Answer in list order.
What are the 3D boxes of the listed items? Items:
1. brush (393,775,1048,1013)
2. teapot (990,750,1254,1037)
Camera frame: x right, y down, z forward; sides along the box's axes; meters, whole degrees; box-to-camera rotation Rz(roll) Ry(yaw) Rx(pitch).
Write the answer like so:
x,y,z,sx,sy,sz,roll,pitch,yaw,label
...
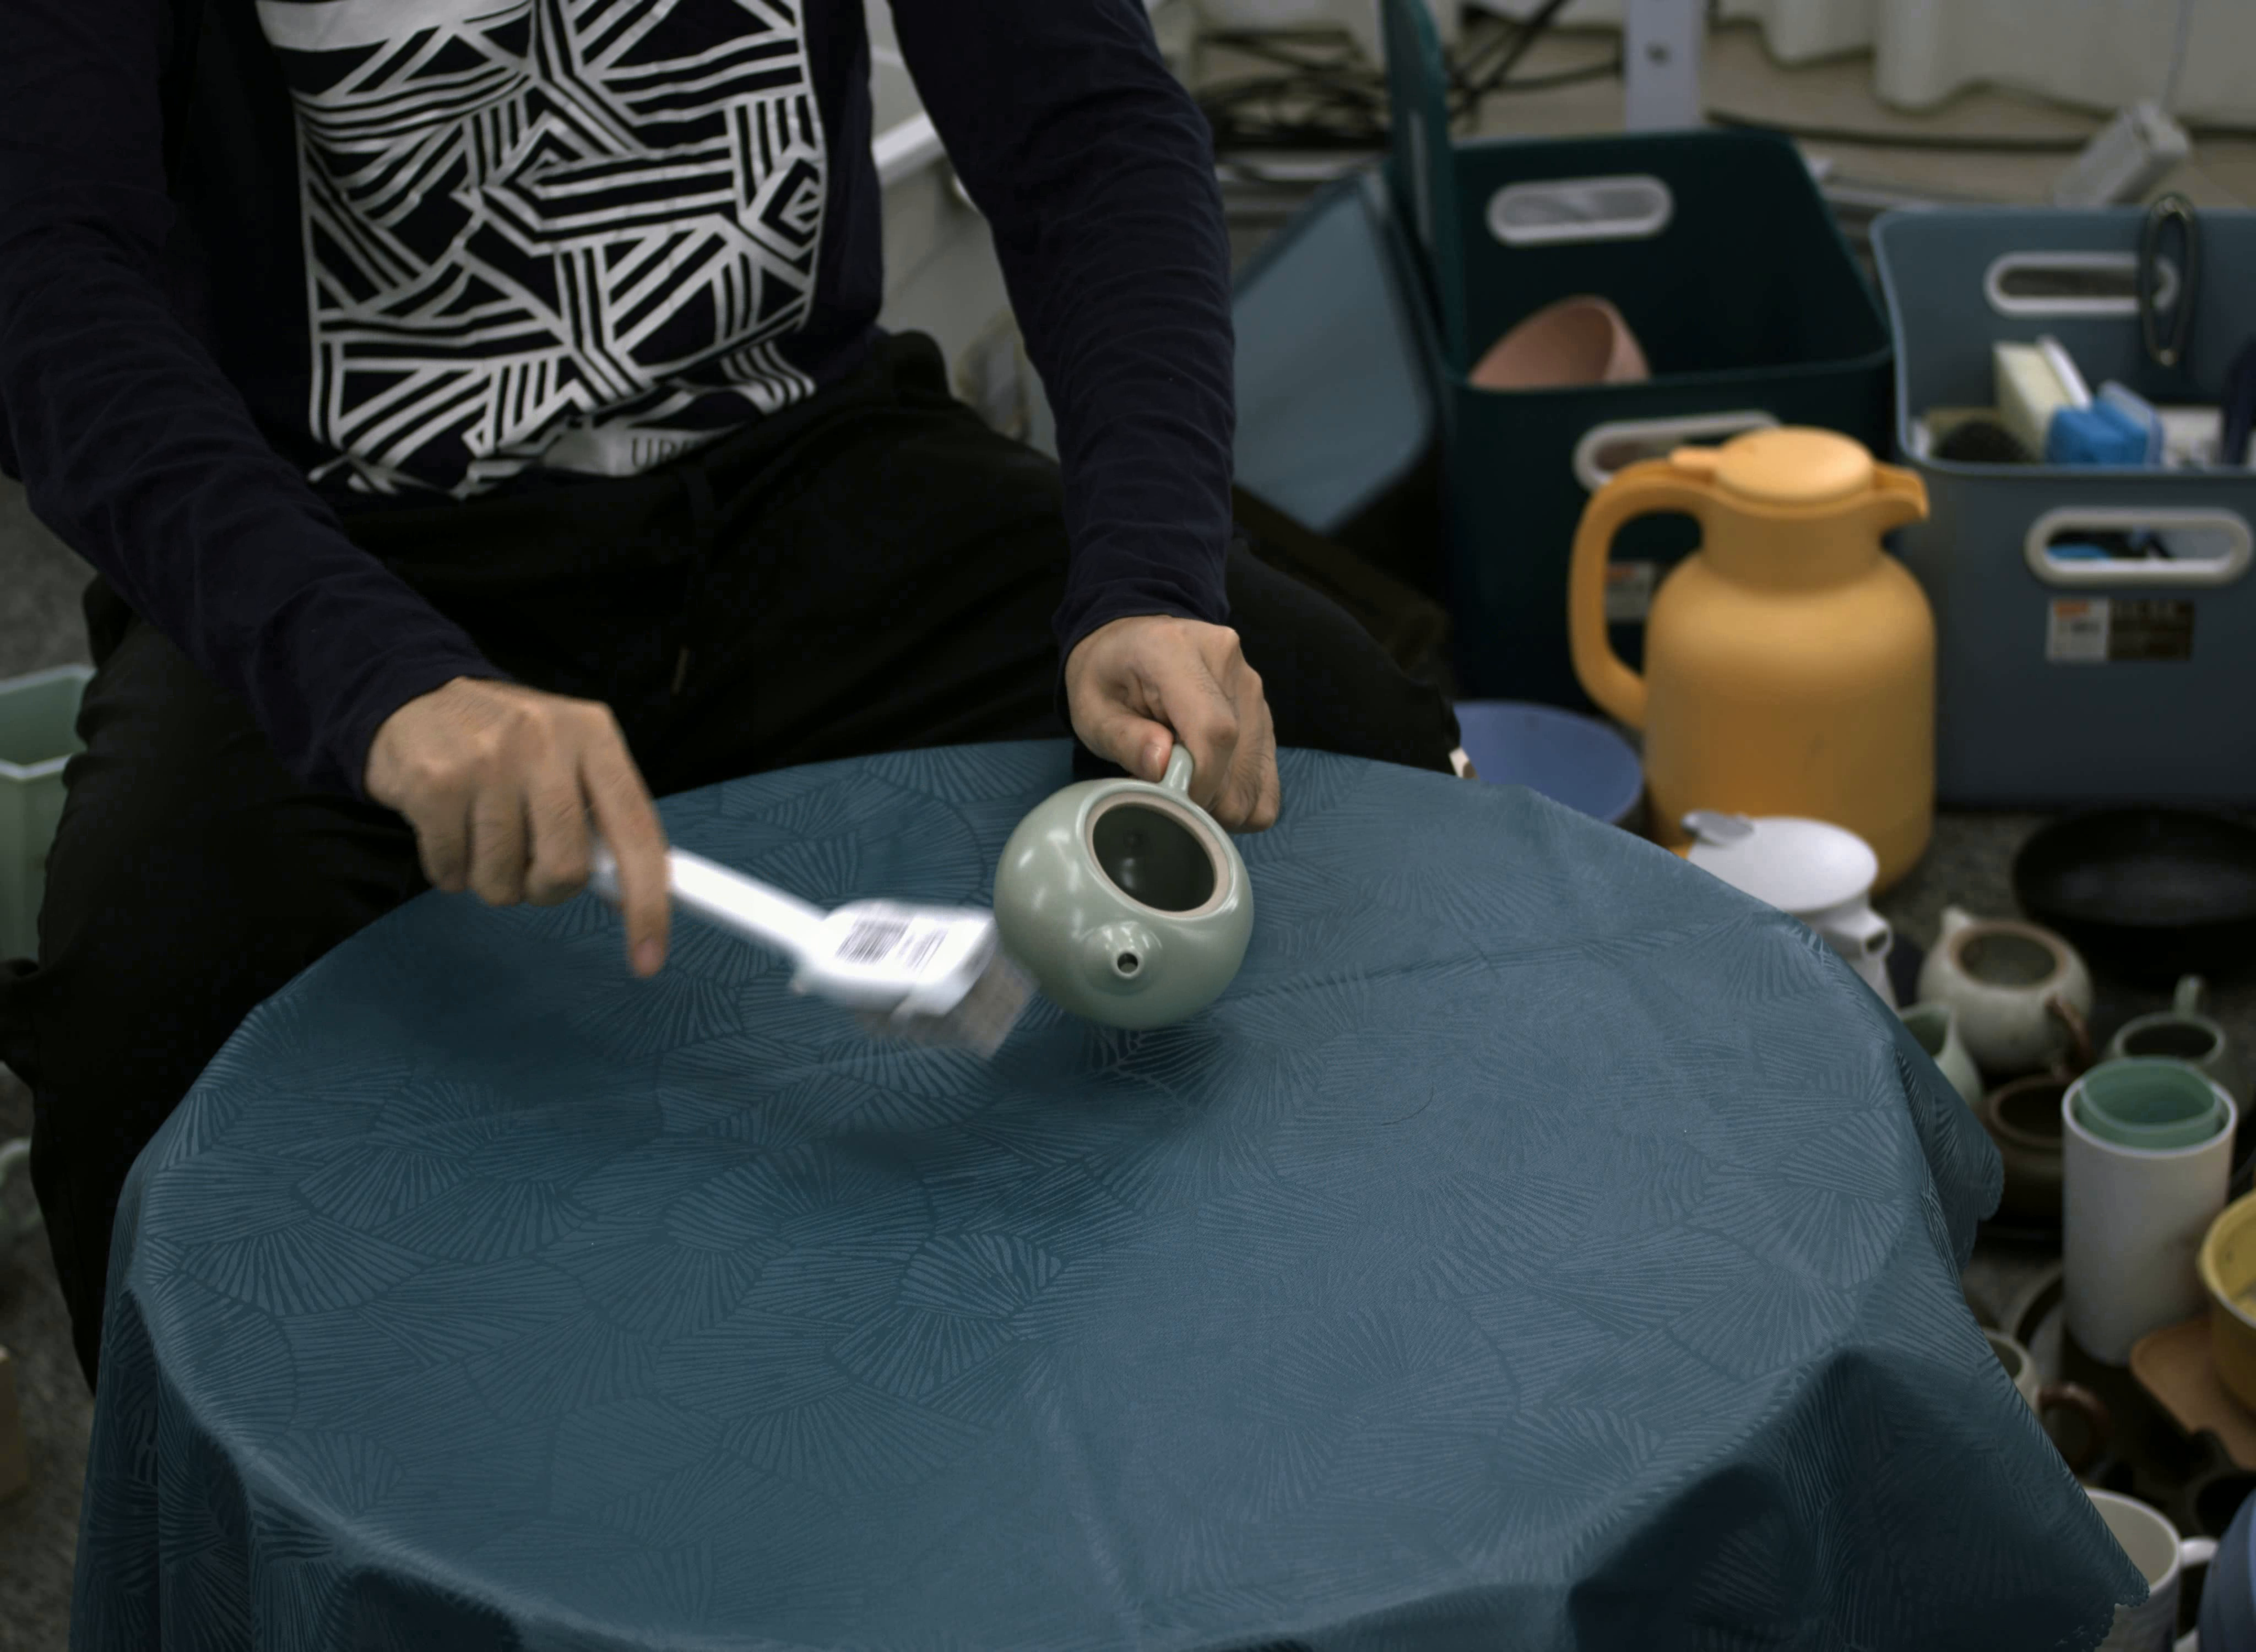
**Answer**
x,y,z,sx,sy,sz,roll,pitch,yaw,label
-0.140,0.024,1.906,0.242,0.049,0.035,11,58,24,brush
0.000,0.023,1.931,0.091,0.060,0.131,24,42,-2,teapot
